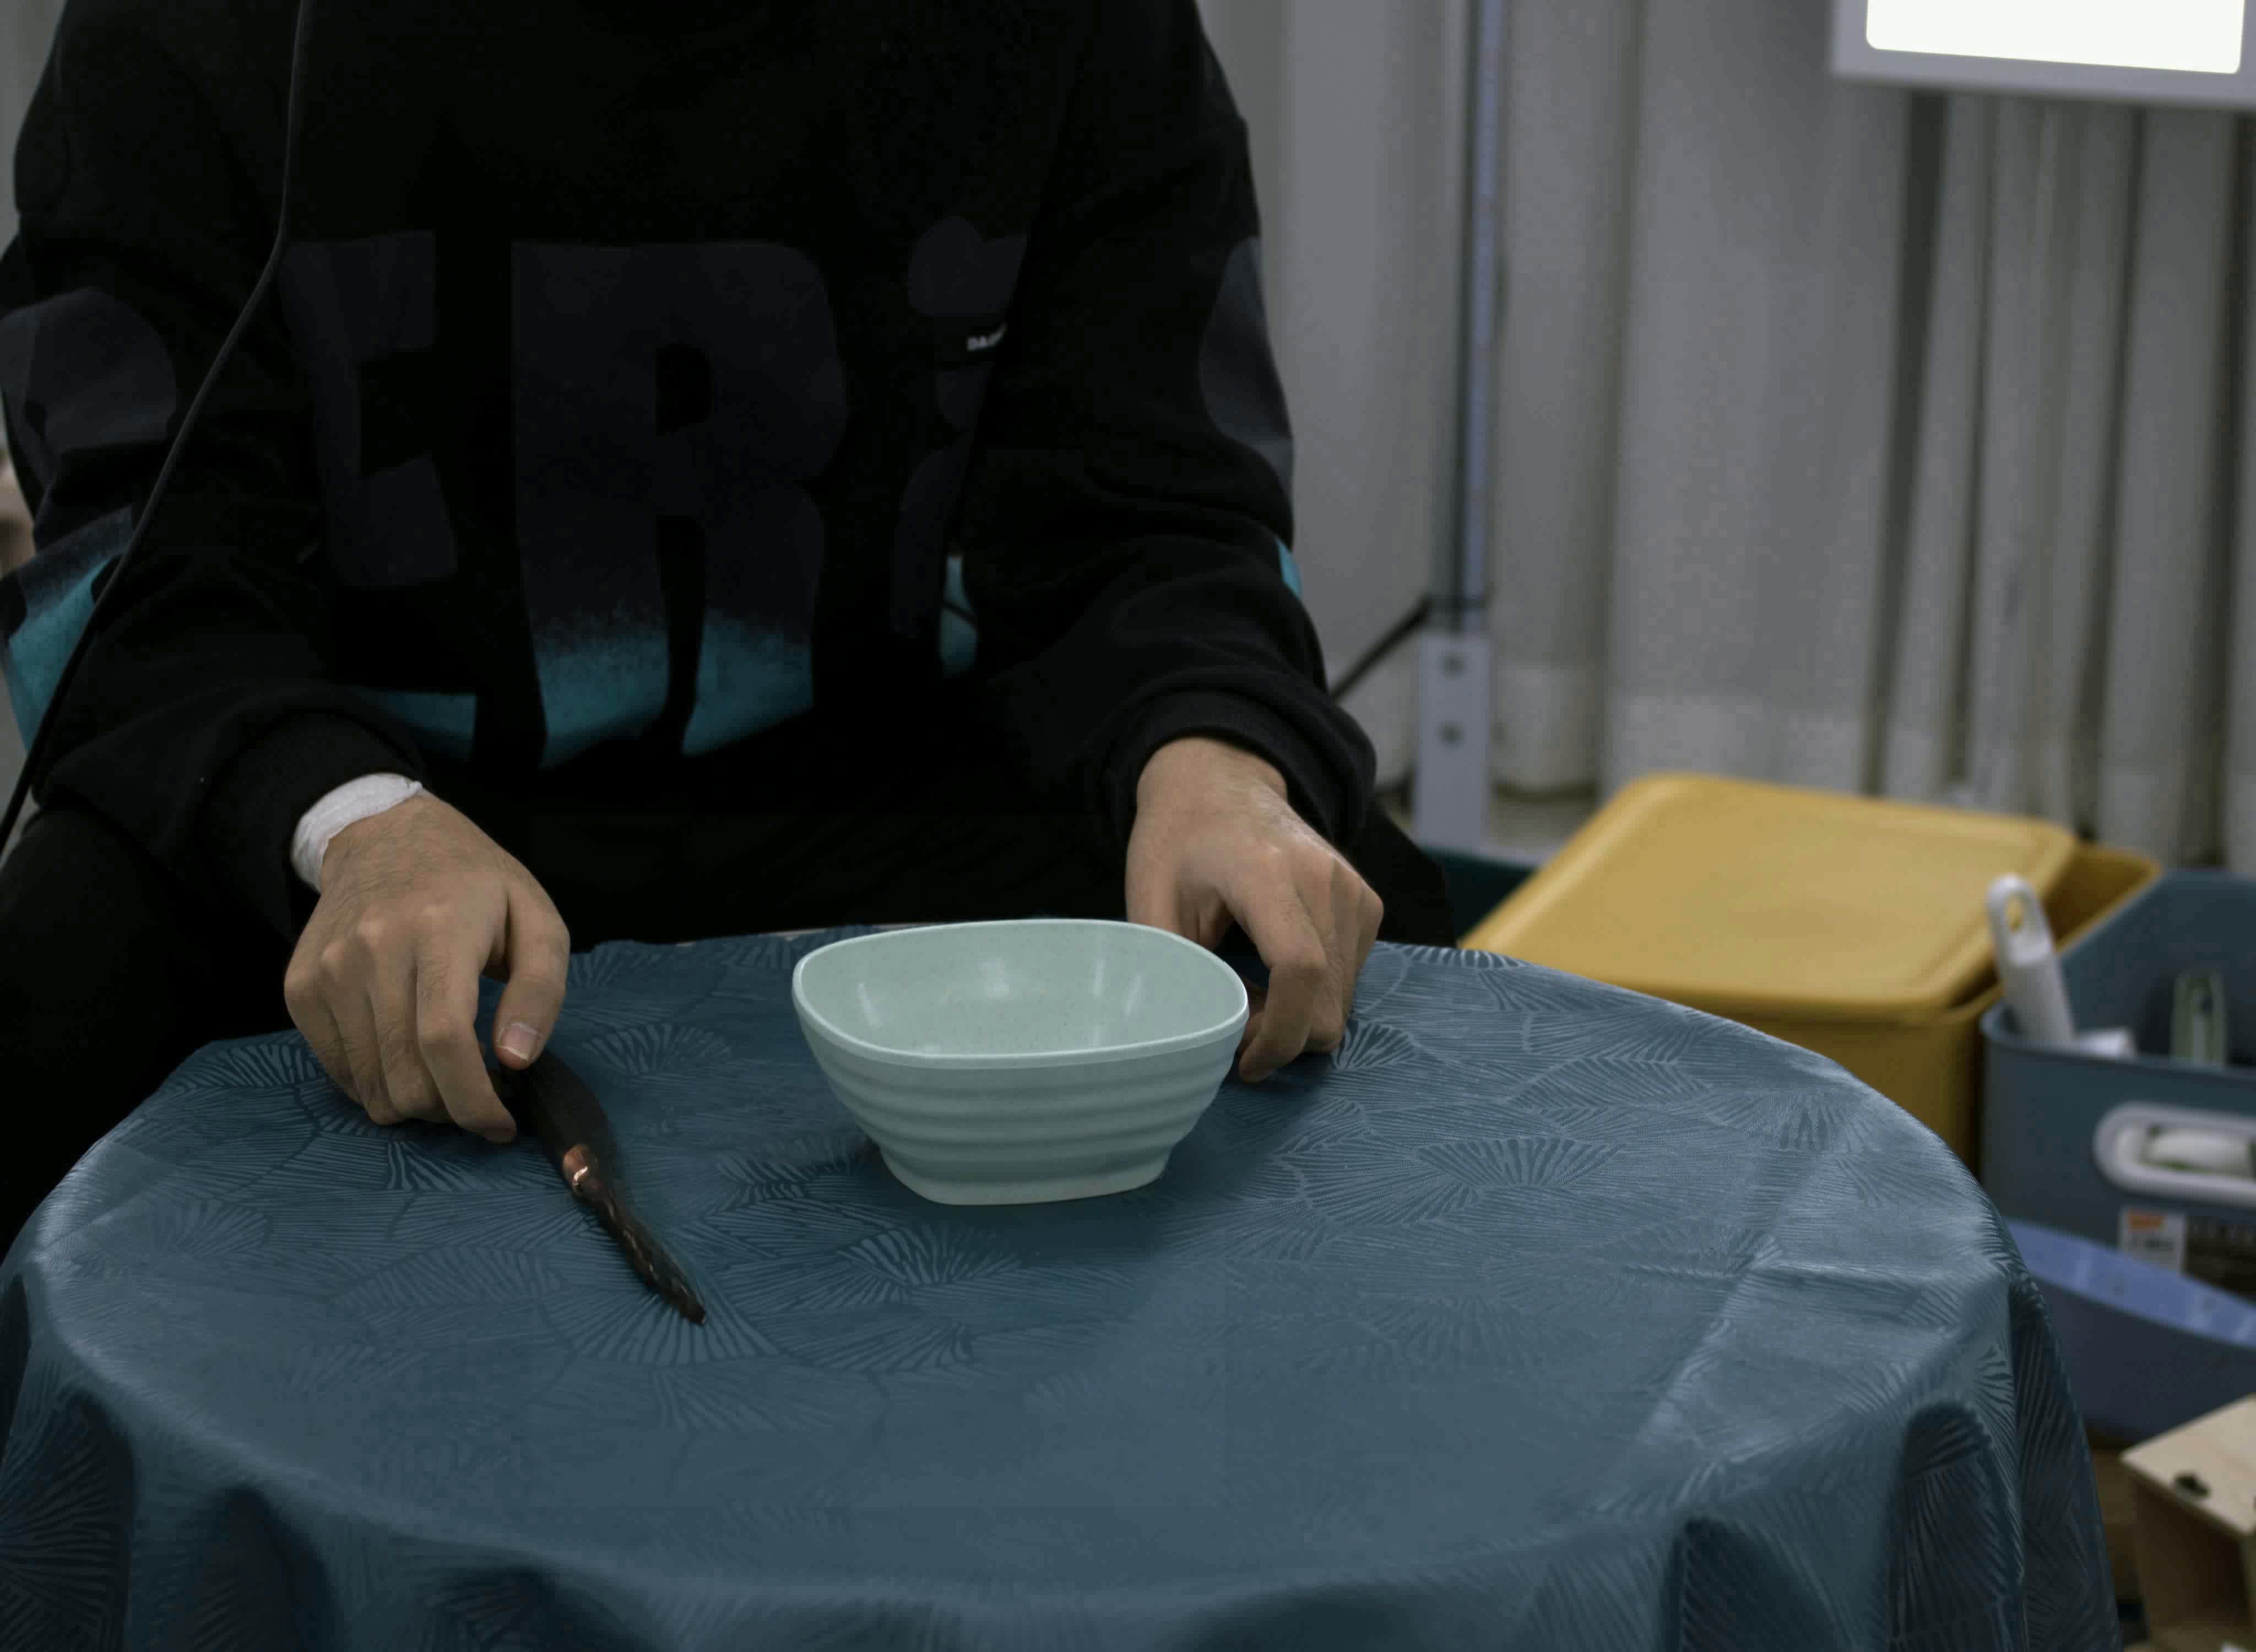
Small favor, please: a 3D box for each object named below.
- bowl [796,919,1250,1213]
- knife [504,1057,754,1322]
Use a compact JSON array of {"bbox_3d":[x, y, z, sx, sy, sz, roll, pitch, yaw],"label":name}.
[{"bbox_3d":[-0.032,0.078,1.643,0.151,0.059,0.150,-1,17,1],"label":"bowl"},{"bbox_3d":[-0.155,0.110,1.606,0.026,0.017,0.223,2,15,-22],"label":"knife"}]
